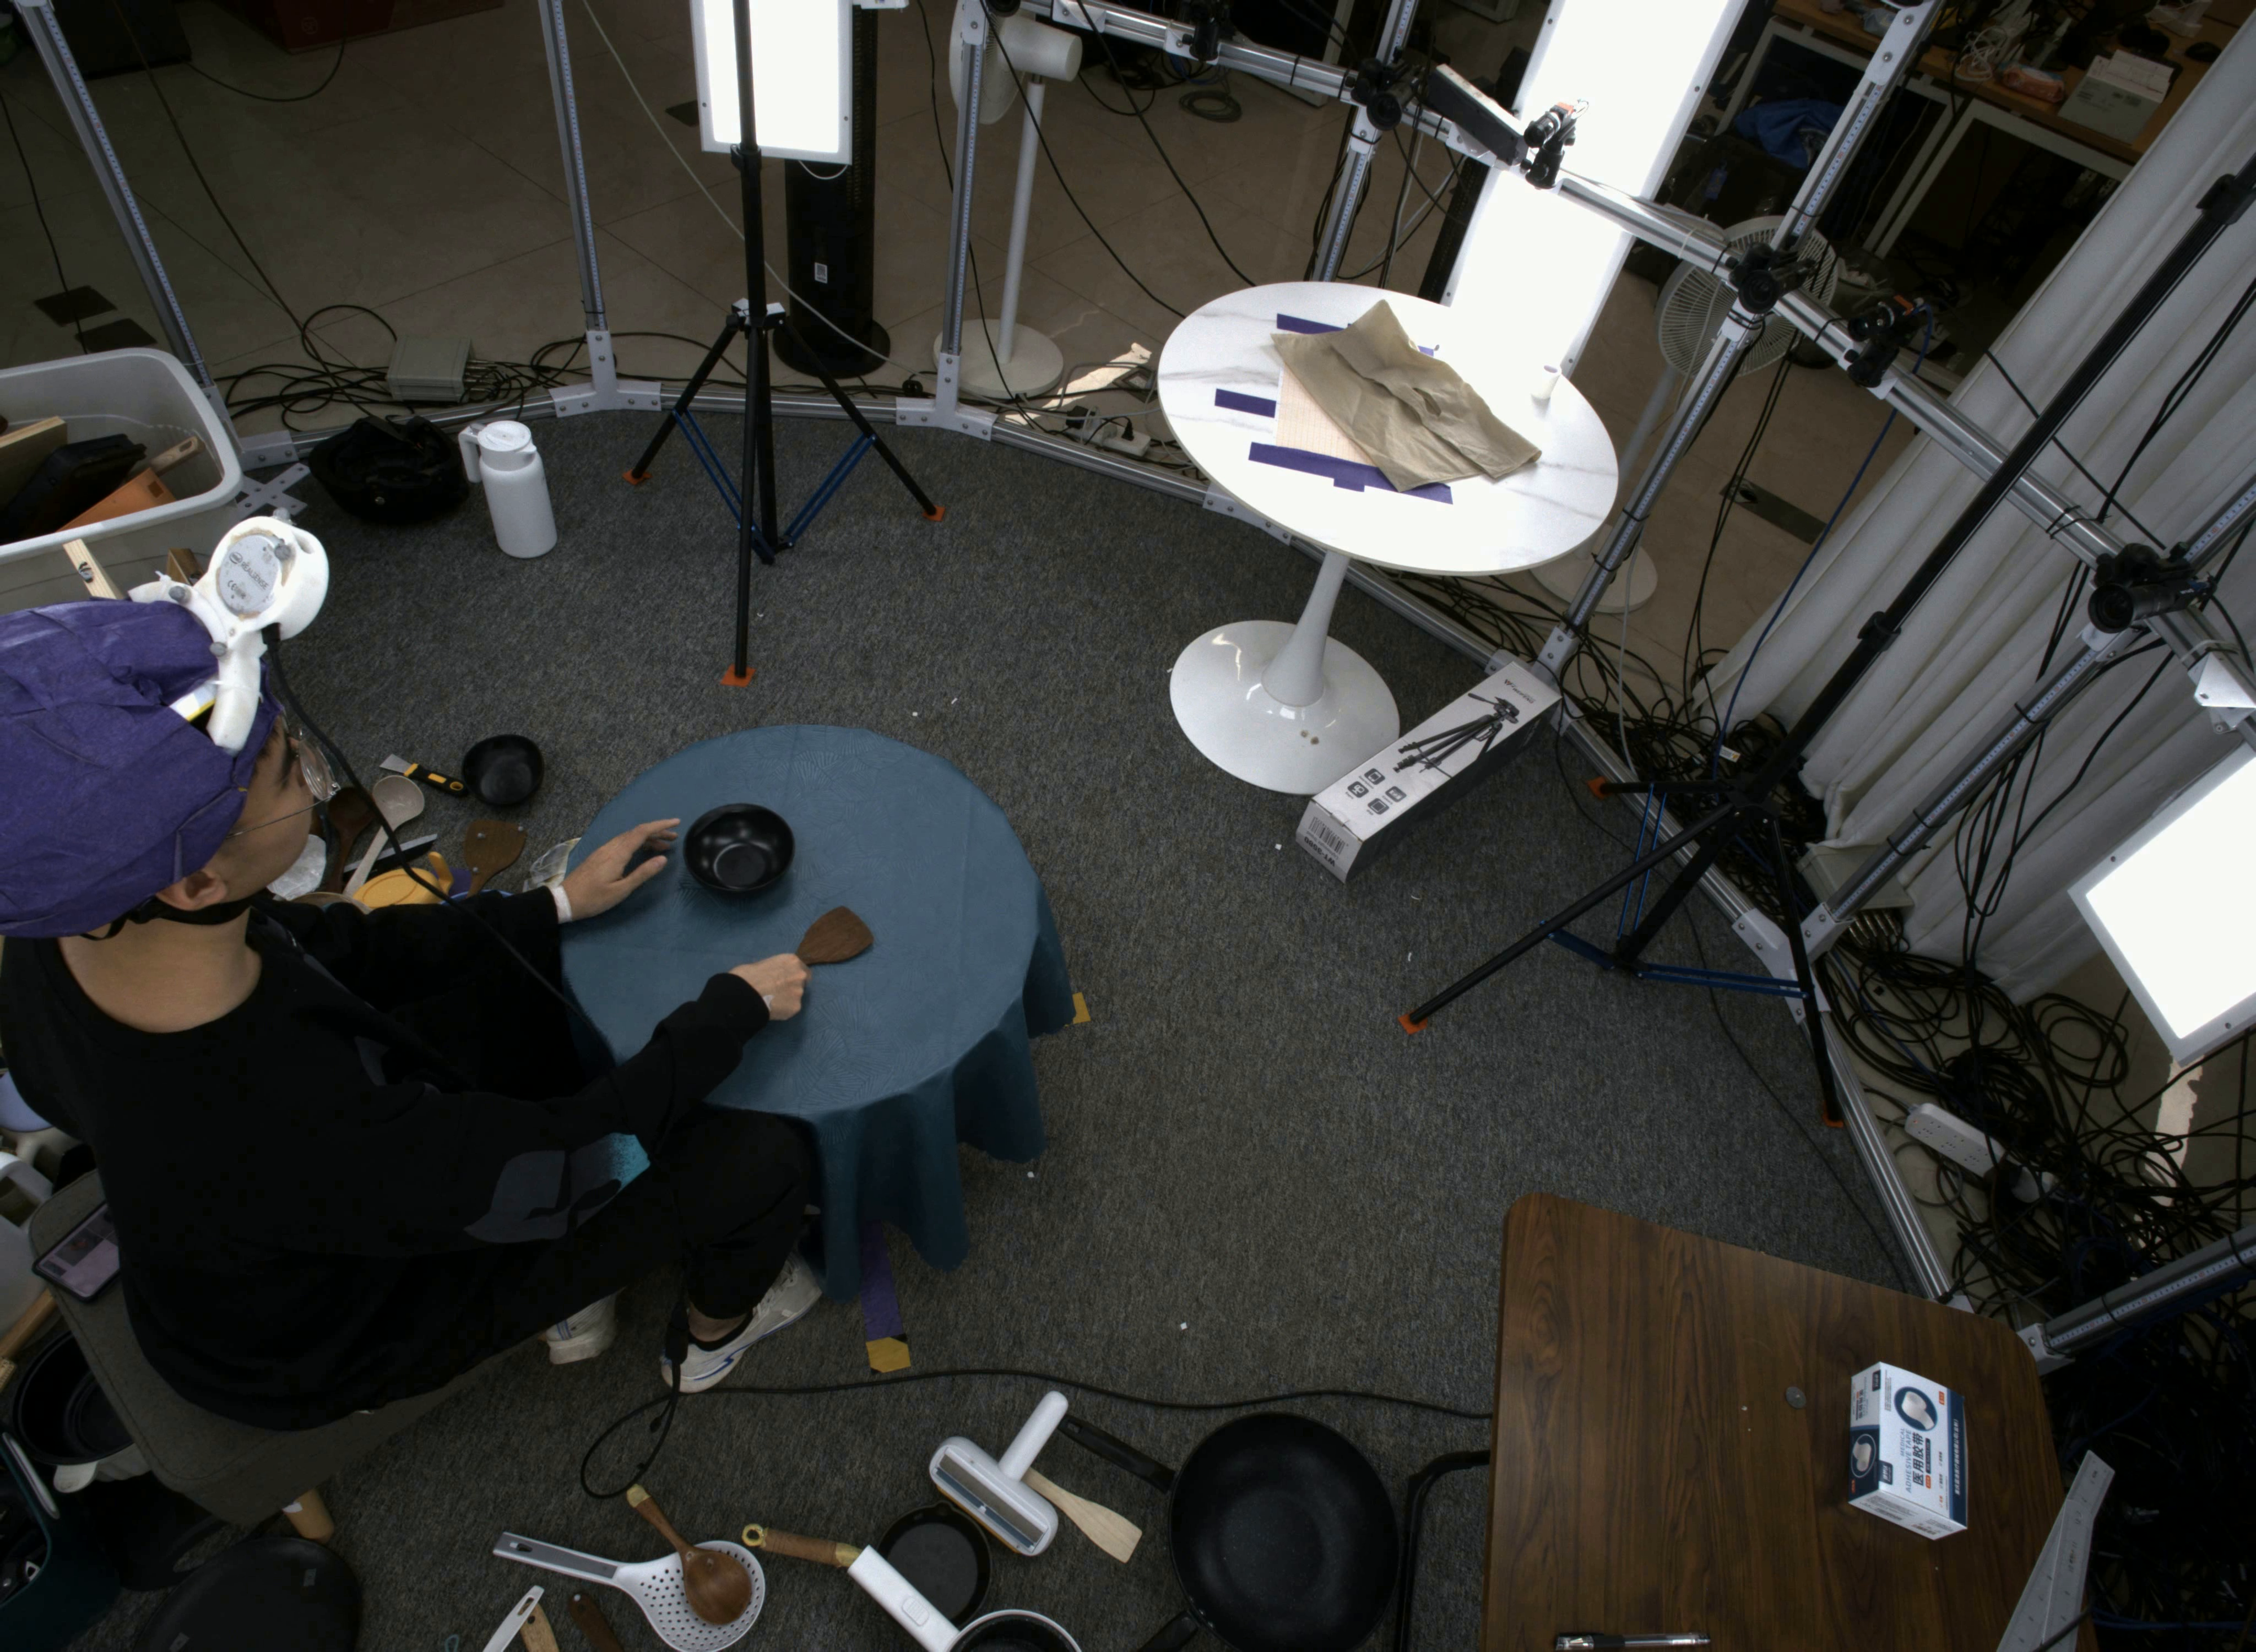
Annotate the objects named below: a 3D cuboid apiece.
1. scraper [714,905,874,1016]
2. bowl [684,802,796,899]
[{"bbox_3d":[-0.415,0.169,1.600,0.212,0.011,0.074,-33,64,-31],"label":"scraper"},{"bbox_3d":[-0.495,0.038,1.652,0.140,0.050,0.137,8,54,-10],"label":"bowl"}]
